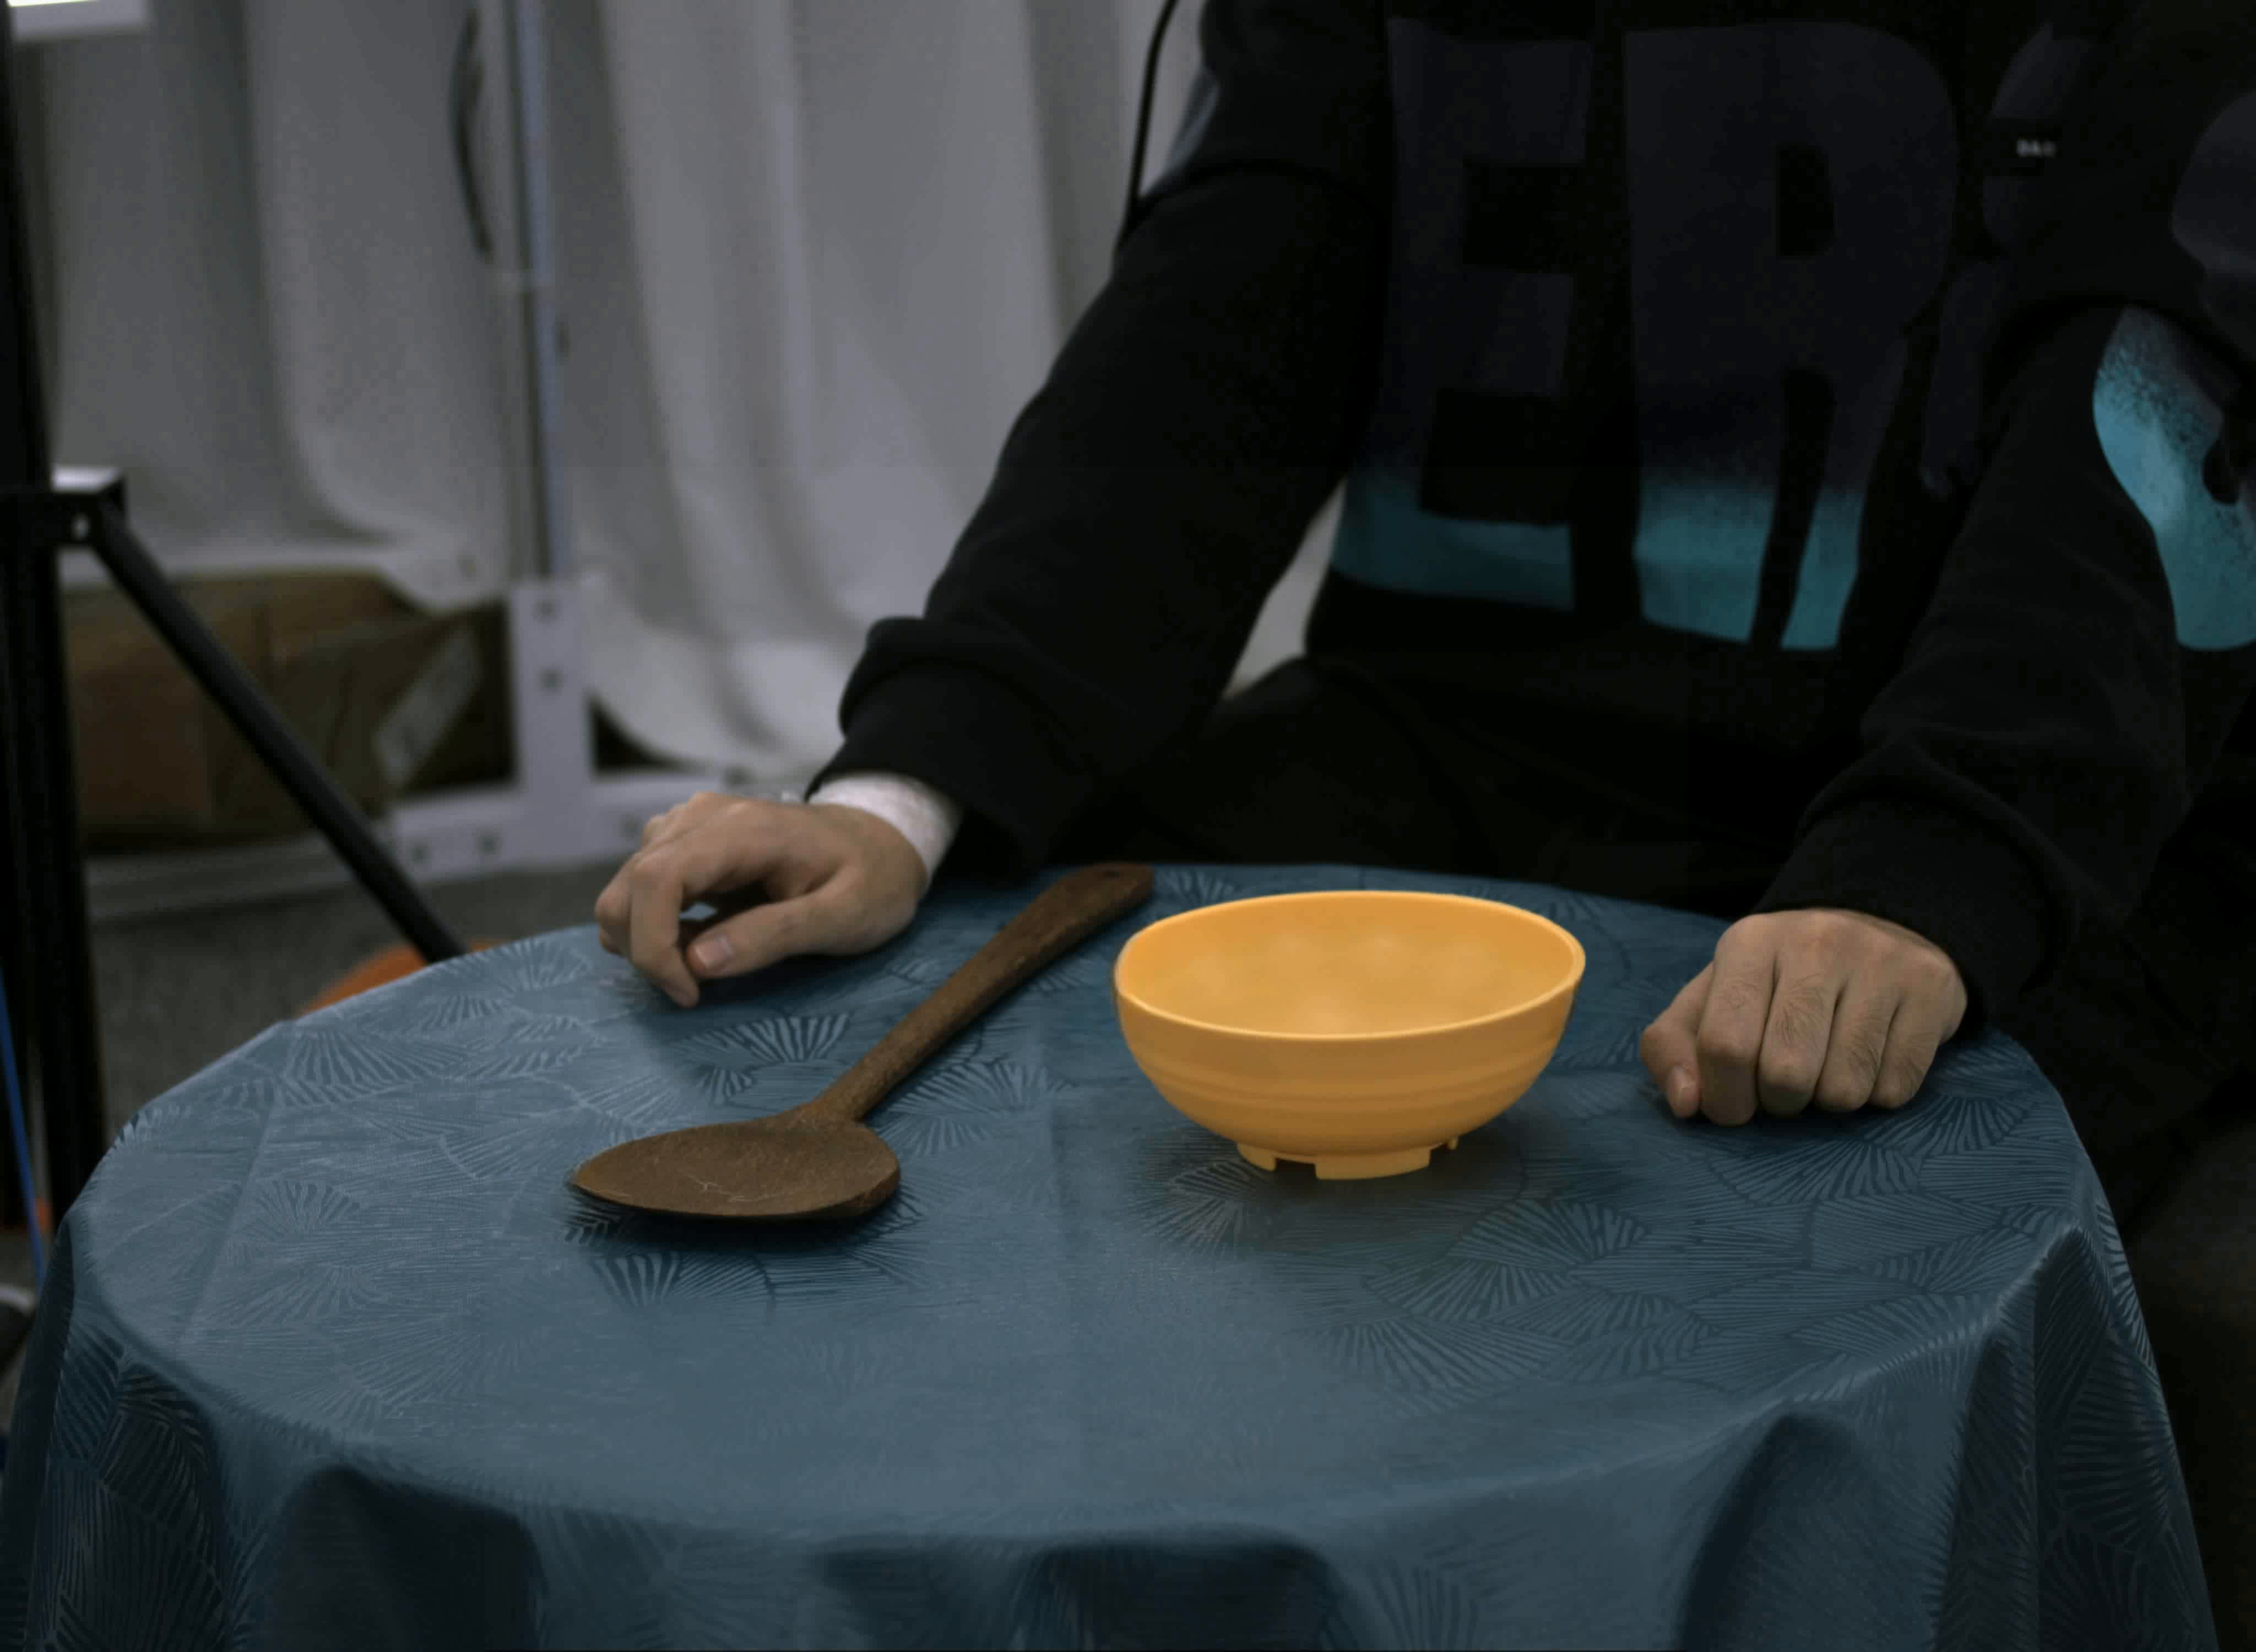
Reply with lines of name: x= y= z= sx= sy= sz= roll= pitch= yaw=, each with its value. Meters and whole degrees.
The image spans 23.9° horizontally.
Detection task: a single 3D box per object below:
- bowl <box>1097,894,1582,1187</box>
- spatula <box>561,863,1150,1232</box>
bowl: x=0.063 y=0.069 z=1.584 sx=0.144 sy=0.060 sz=0.146 roll=0 pitch=16 yaw=-1
spatula: x=-0.064 y=0.065 z=1.698 sx=0.097 sy=0.016 sz=0.381 roll=4 pitch=17 yaw=20
